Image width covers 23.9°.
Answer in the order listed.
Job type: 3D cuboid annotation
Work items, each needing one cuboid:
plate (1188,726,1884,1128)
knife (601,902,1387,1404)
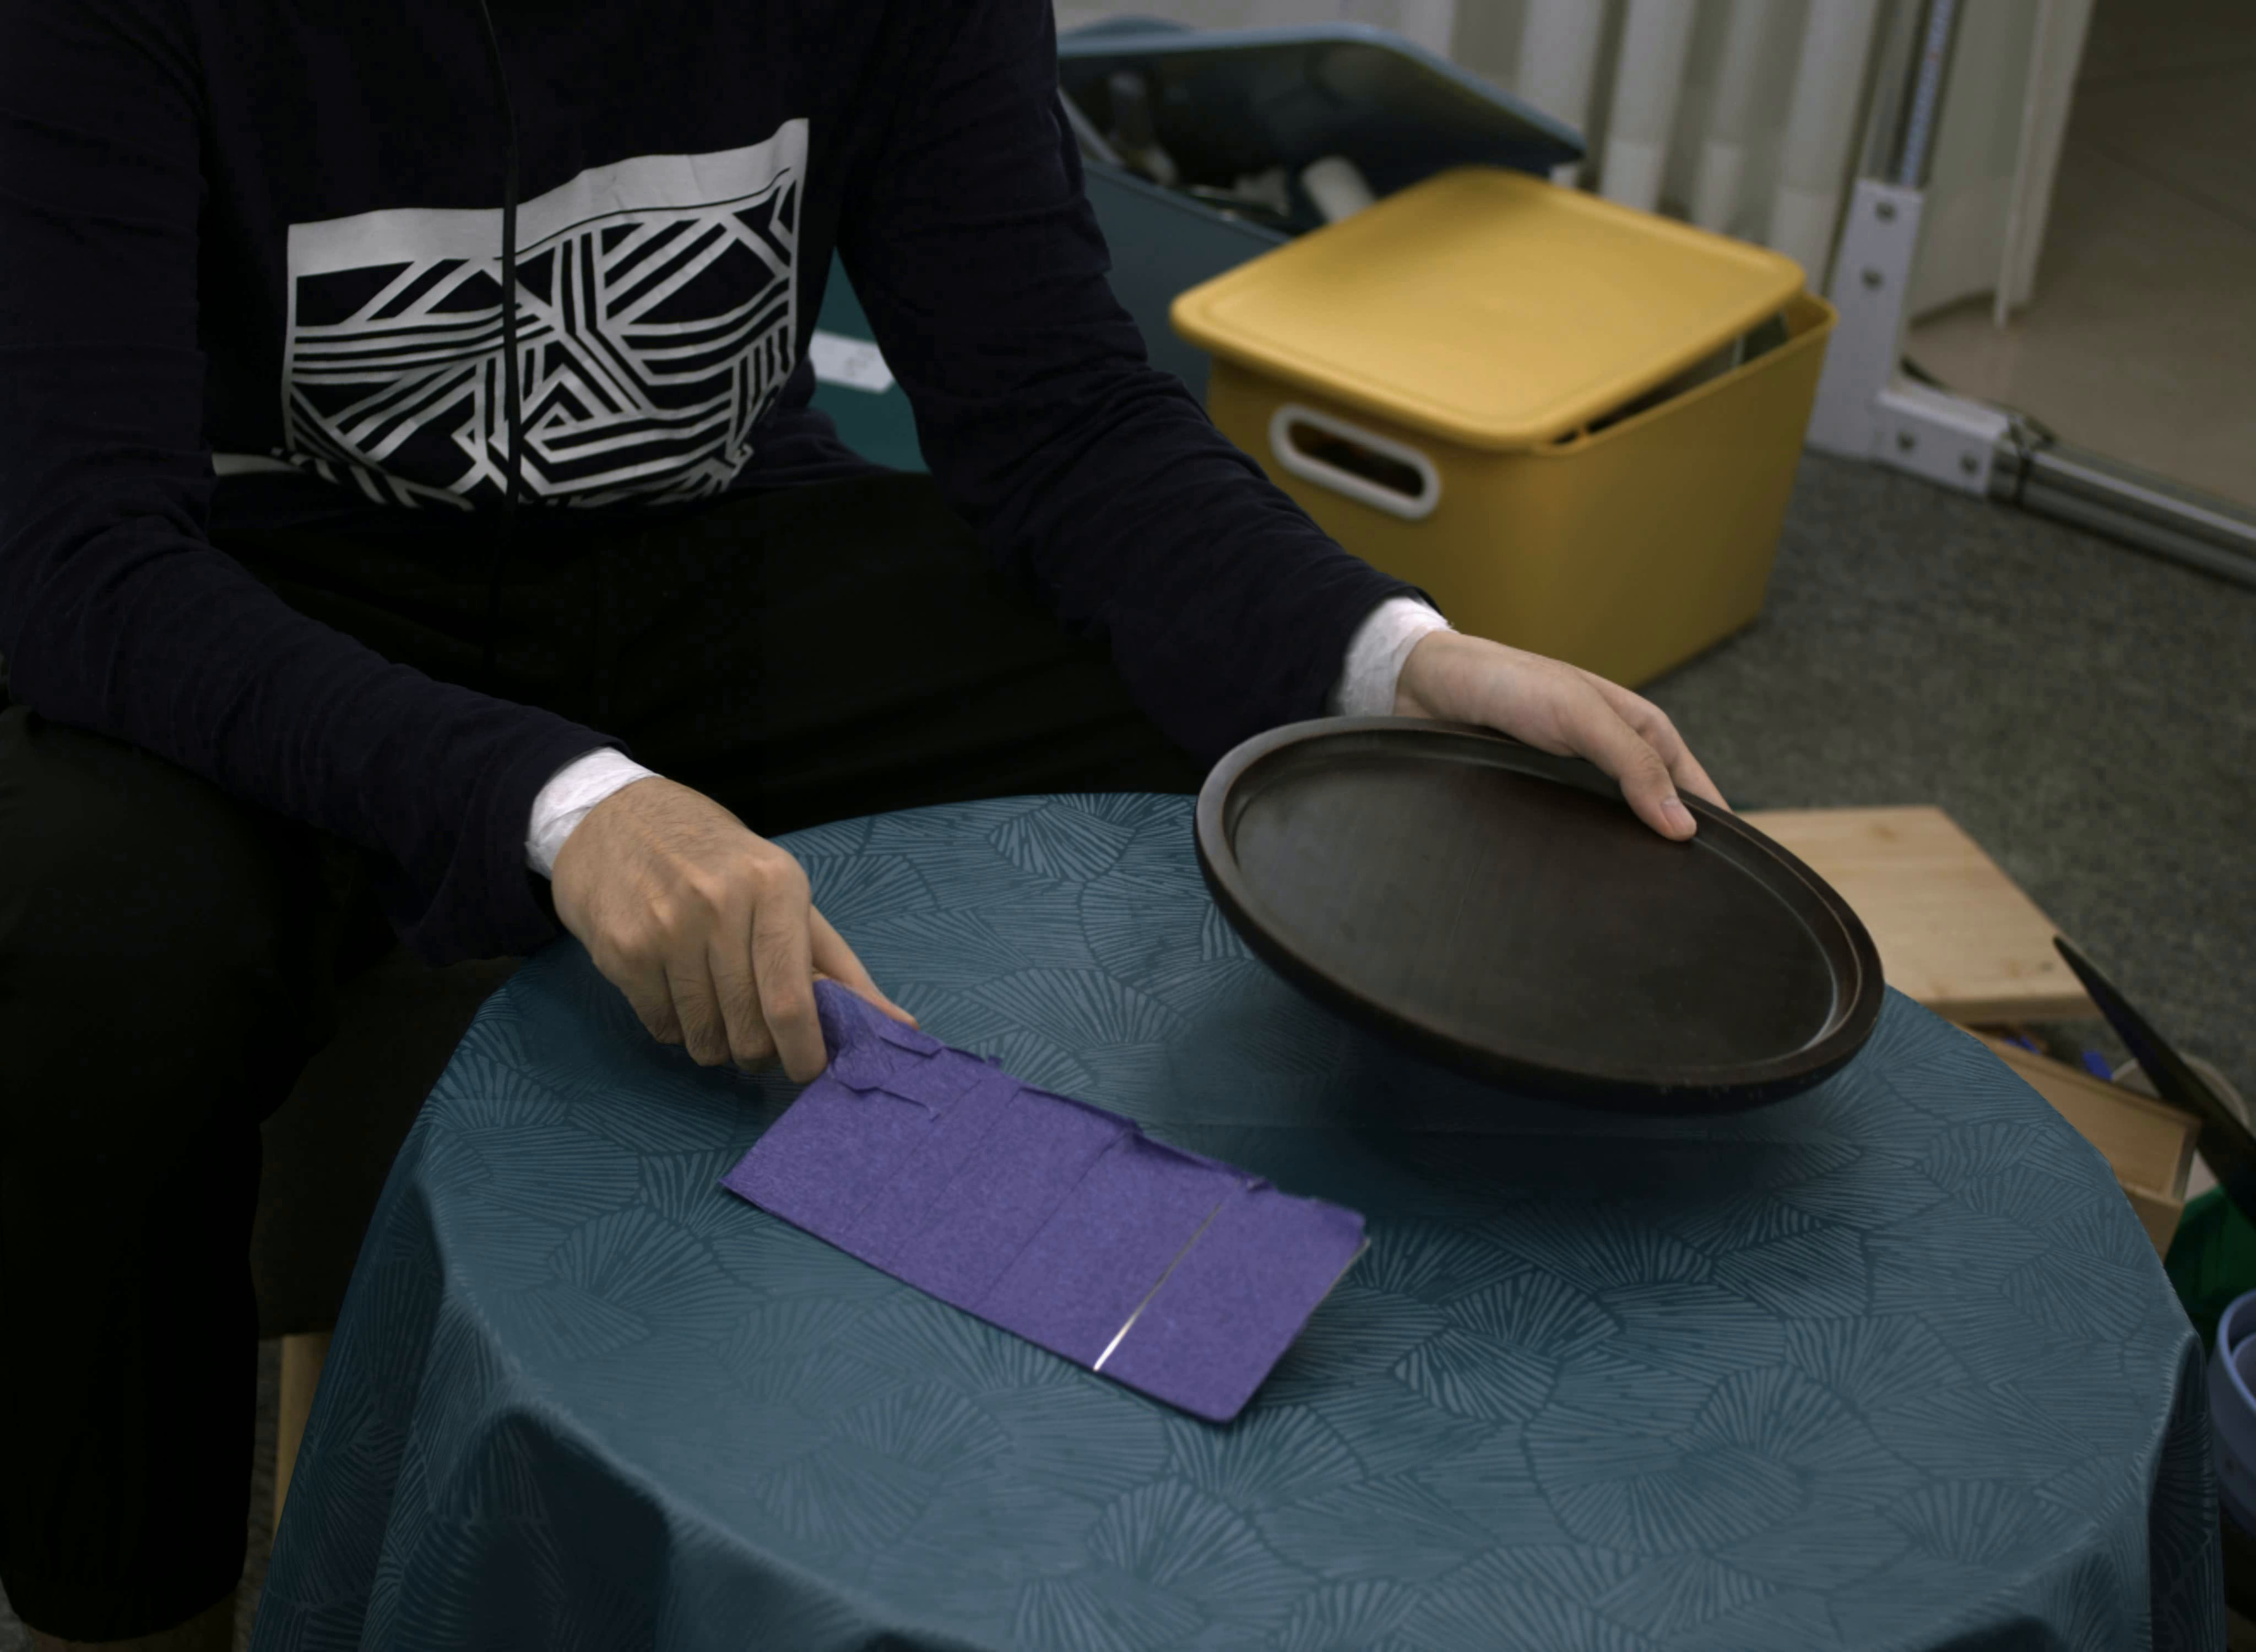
[{"bbox_3d":[0.142,0.033,1.877,0.254,0.029,0.256,11,28,-7],"label":"plate"},{"bbox_3d":[-0.069,0.106,1.772,0.317,0.032,0.104,21,51,31],"label":"knife"}]
